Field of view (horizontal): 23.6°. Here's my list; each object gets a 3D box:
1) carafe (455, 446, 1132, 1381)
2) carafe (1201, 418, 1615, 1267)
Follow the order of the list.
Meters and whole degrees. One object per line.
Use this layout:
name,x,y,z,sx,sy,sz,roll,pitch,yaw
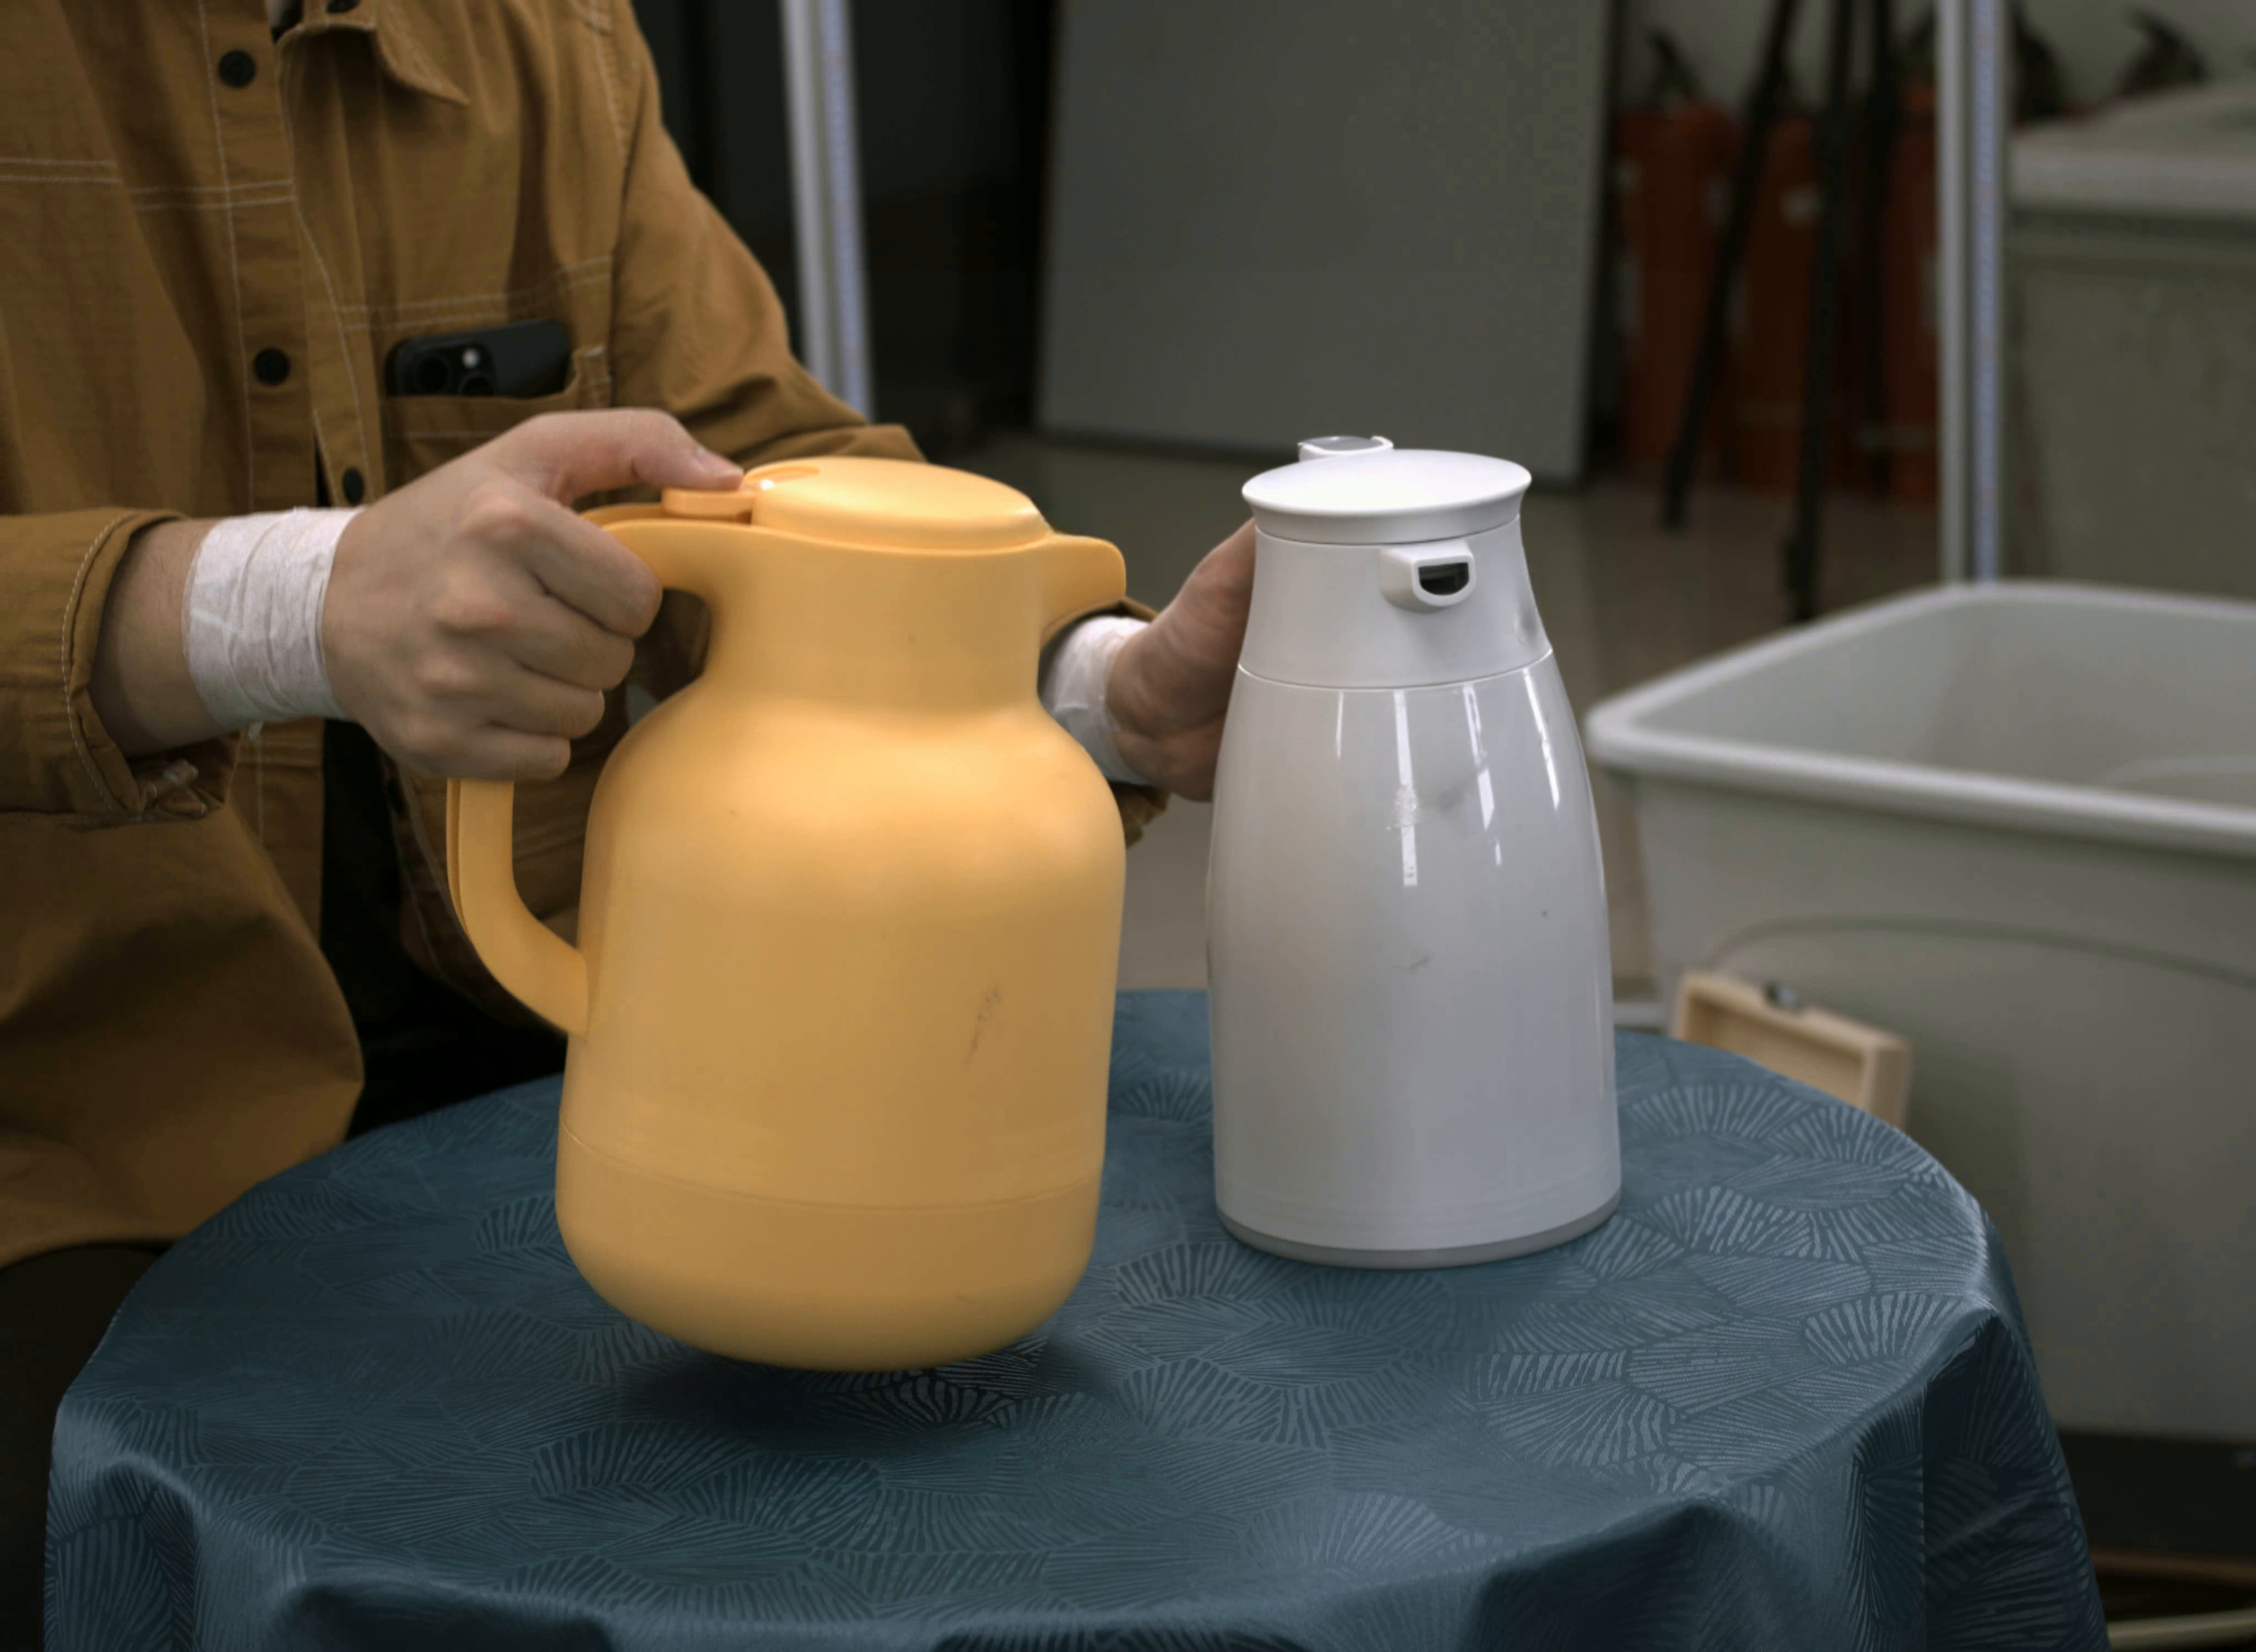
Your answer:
carafe,-0.098,0.021,1.585,0.198,0.263,0.164,2,11,-13
carafe,0.080,-0.003,1.729,0.130,0.251,0.169,-7,13,-12
